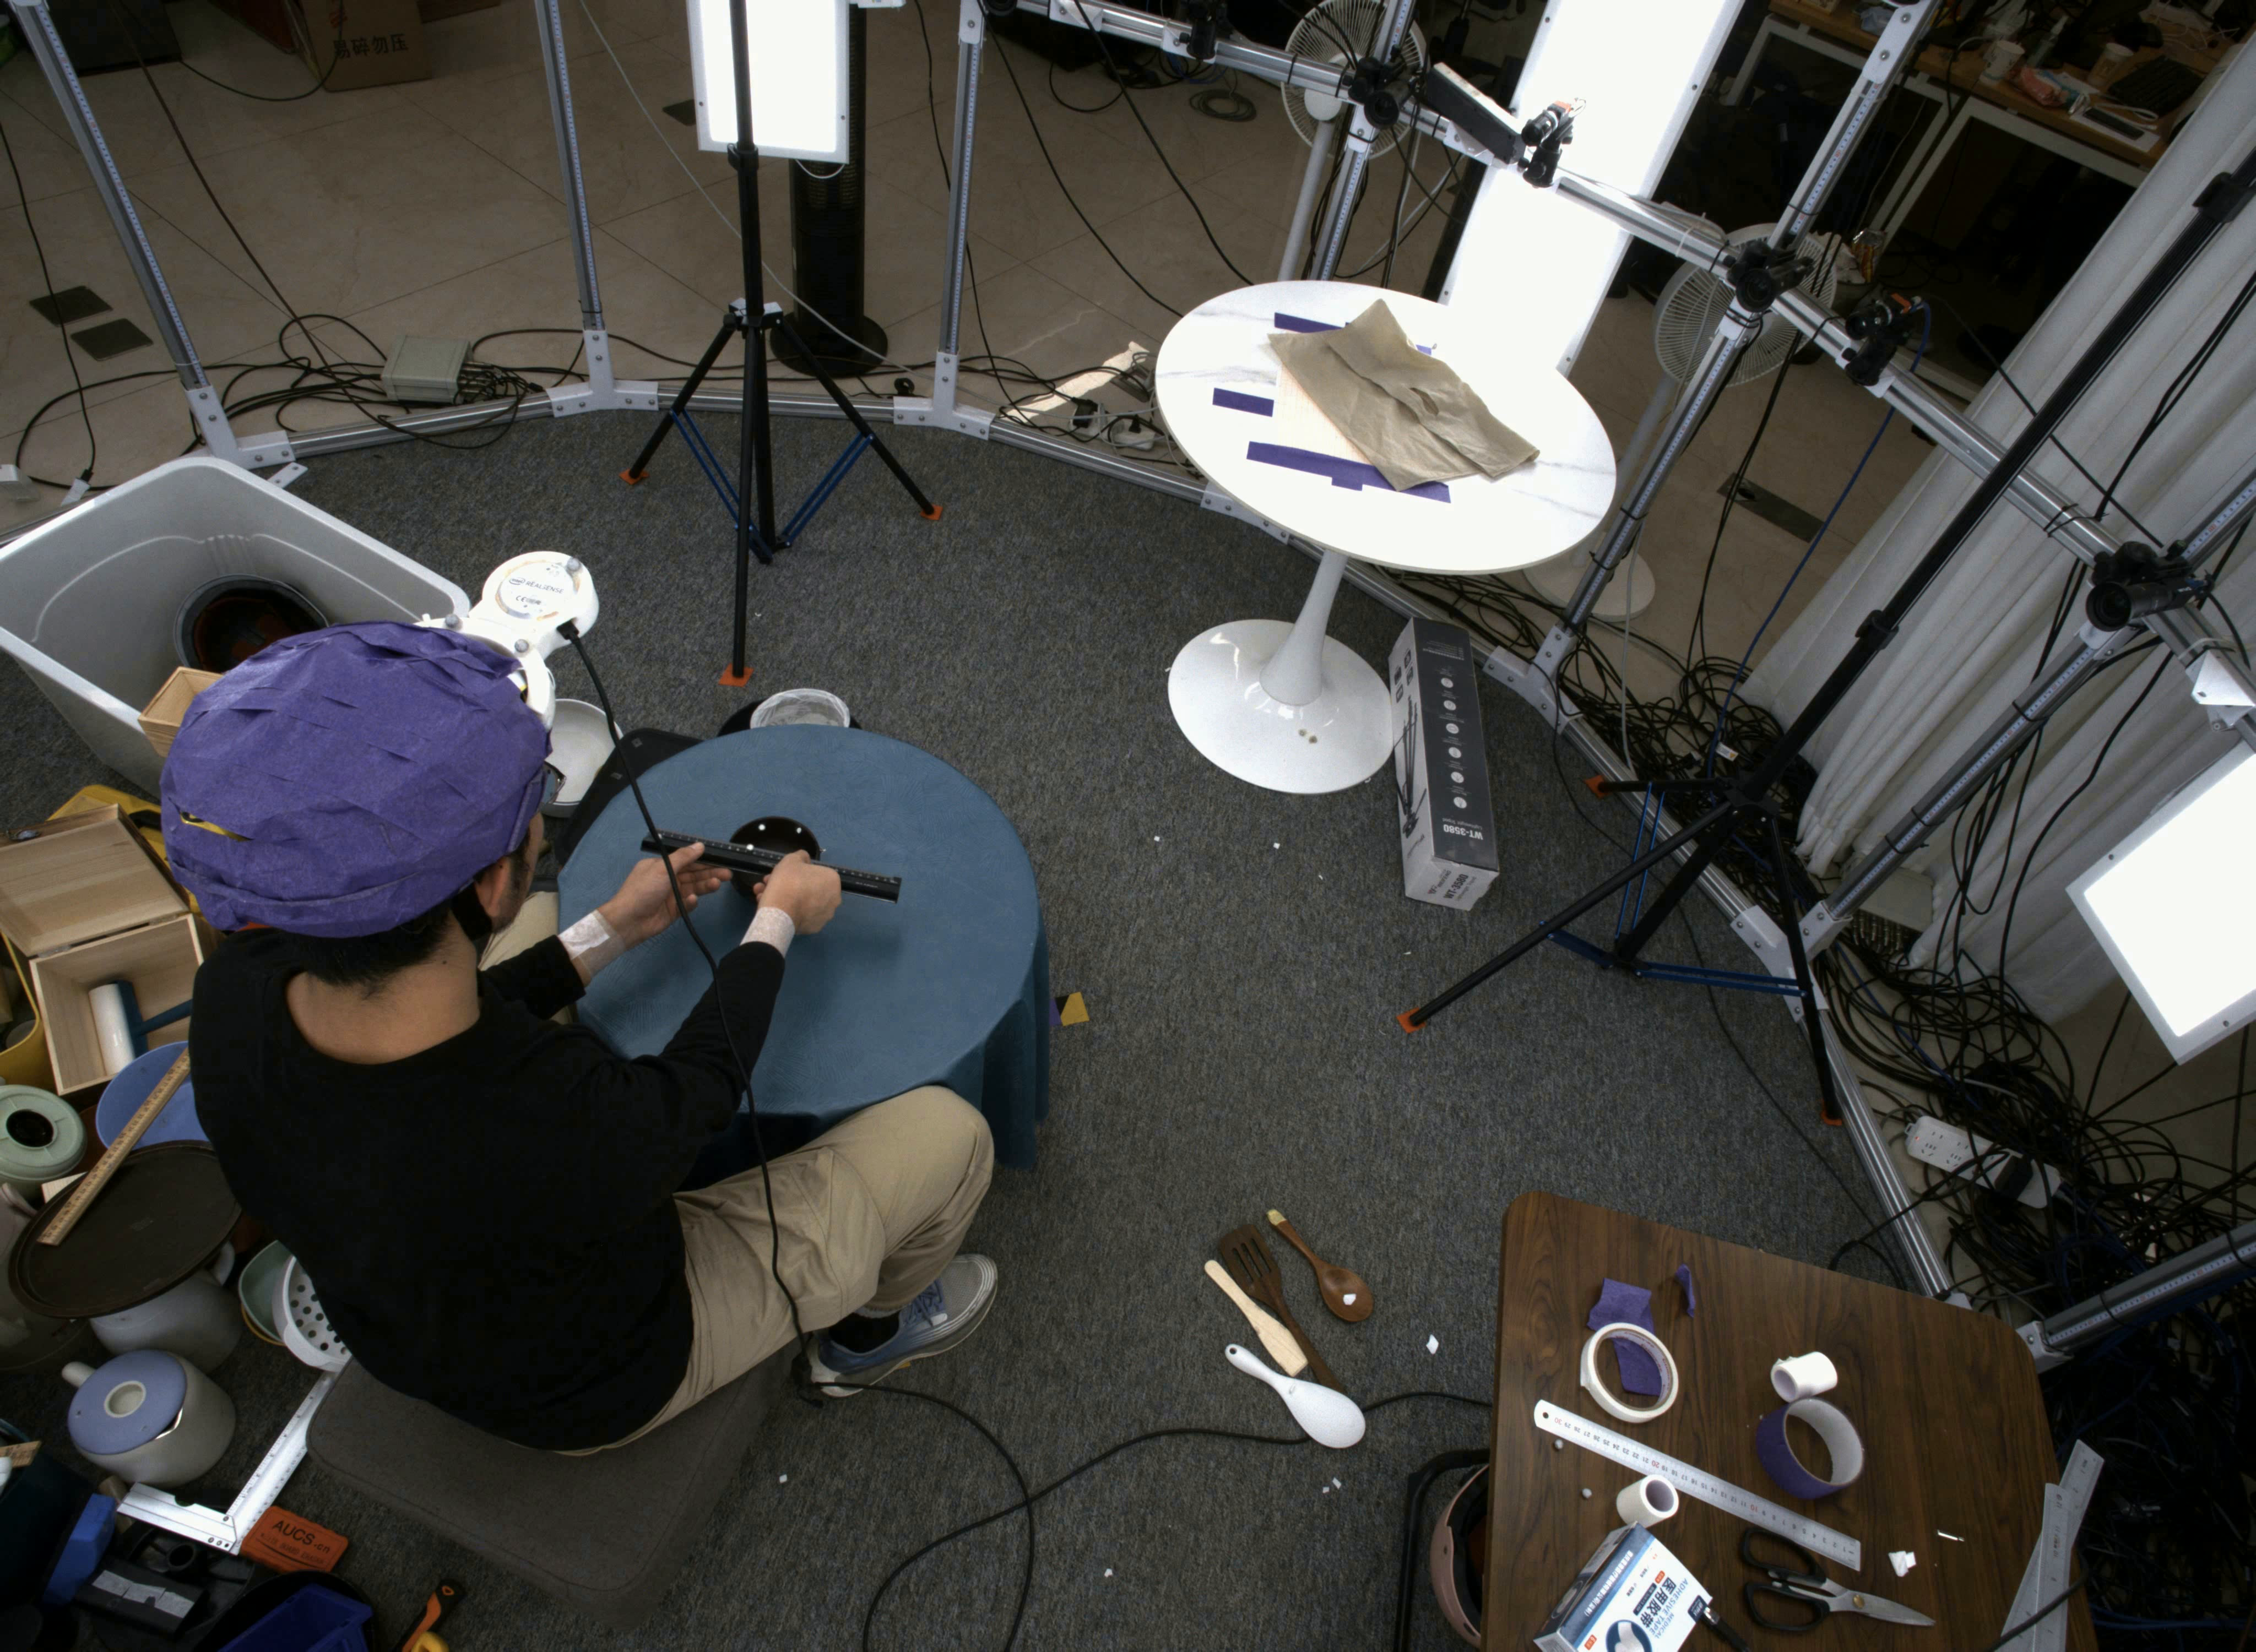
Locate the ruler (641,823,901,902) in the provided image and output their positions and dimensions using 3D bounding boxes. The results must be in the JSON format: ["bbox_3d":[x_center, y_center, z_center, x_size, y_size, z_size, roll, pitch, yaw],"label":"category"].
[{"bbox_3d":[-0.428,0.039,1.564,0.314,0.017,0.038,13,52,-14],"label":"ruler"}]

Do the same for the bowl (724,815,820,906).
[{"bbox_3d":[-0.446,0.050,1.623,0.118,0.071,0.115,9,46,-8],"label":"bowl"}]
